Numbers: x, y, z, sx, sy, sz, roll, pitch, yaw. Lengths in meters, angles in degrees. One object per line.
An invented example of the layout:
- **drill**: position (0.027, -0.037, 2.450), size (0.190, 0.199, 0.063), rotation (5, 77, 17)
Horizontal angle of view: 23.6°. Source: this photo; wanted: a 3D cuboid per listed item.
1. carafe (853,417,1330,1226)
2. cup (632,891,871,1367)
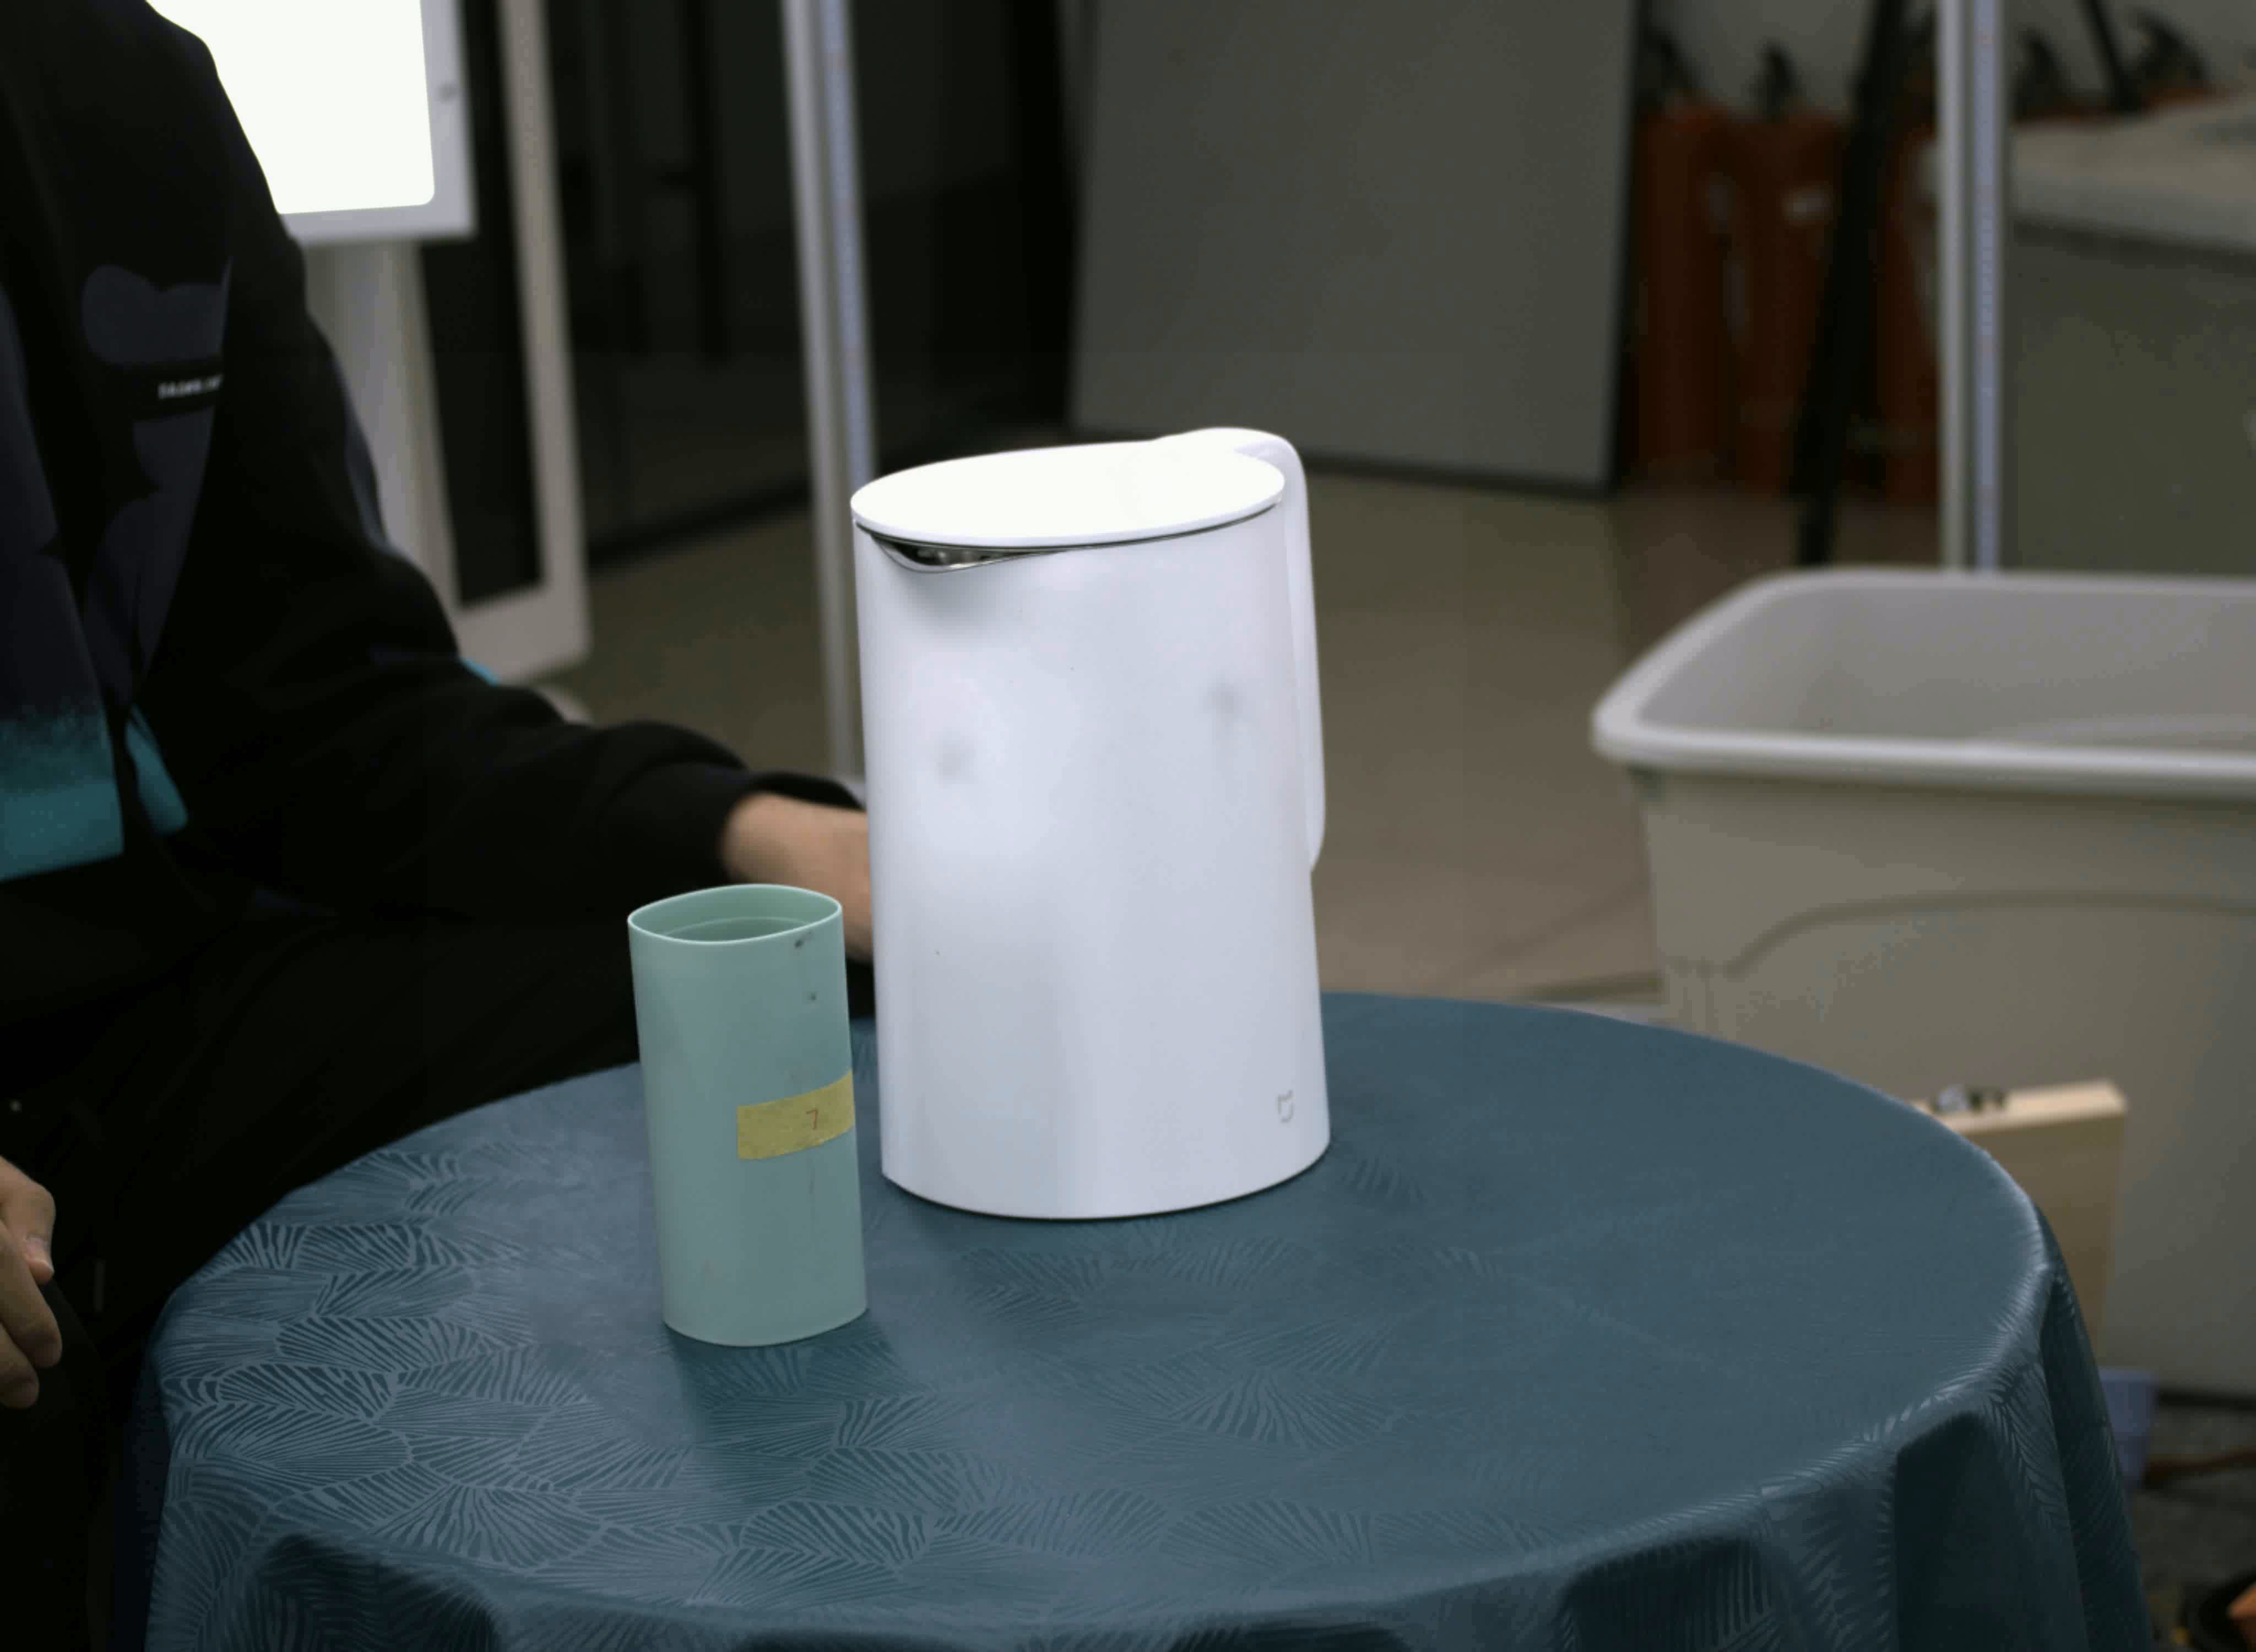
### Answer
- **carafe**: position (0.002, -0.008, 1.805), size (0.153, 0.243, 0.209), rotation (7, 18, 34)
- **cup**: position (-0.116, 0.092, 1.663), size (0.066, 0.134, 0.067), rotation (-4, 14, 0)
